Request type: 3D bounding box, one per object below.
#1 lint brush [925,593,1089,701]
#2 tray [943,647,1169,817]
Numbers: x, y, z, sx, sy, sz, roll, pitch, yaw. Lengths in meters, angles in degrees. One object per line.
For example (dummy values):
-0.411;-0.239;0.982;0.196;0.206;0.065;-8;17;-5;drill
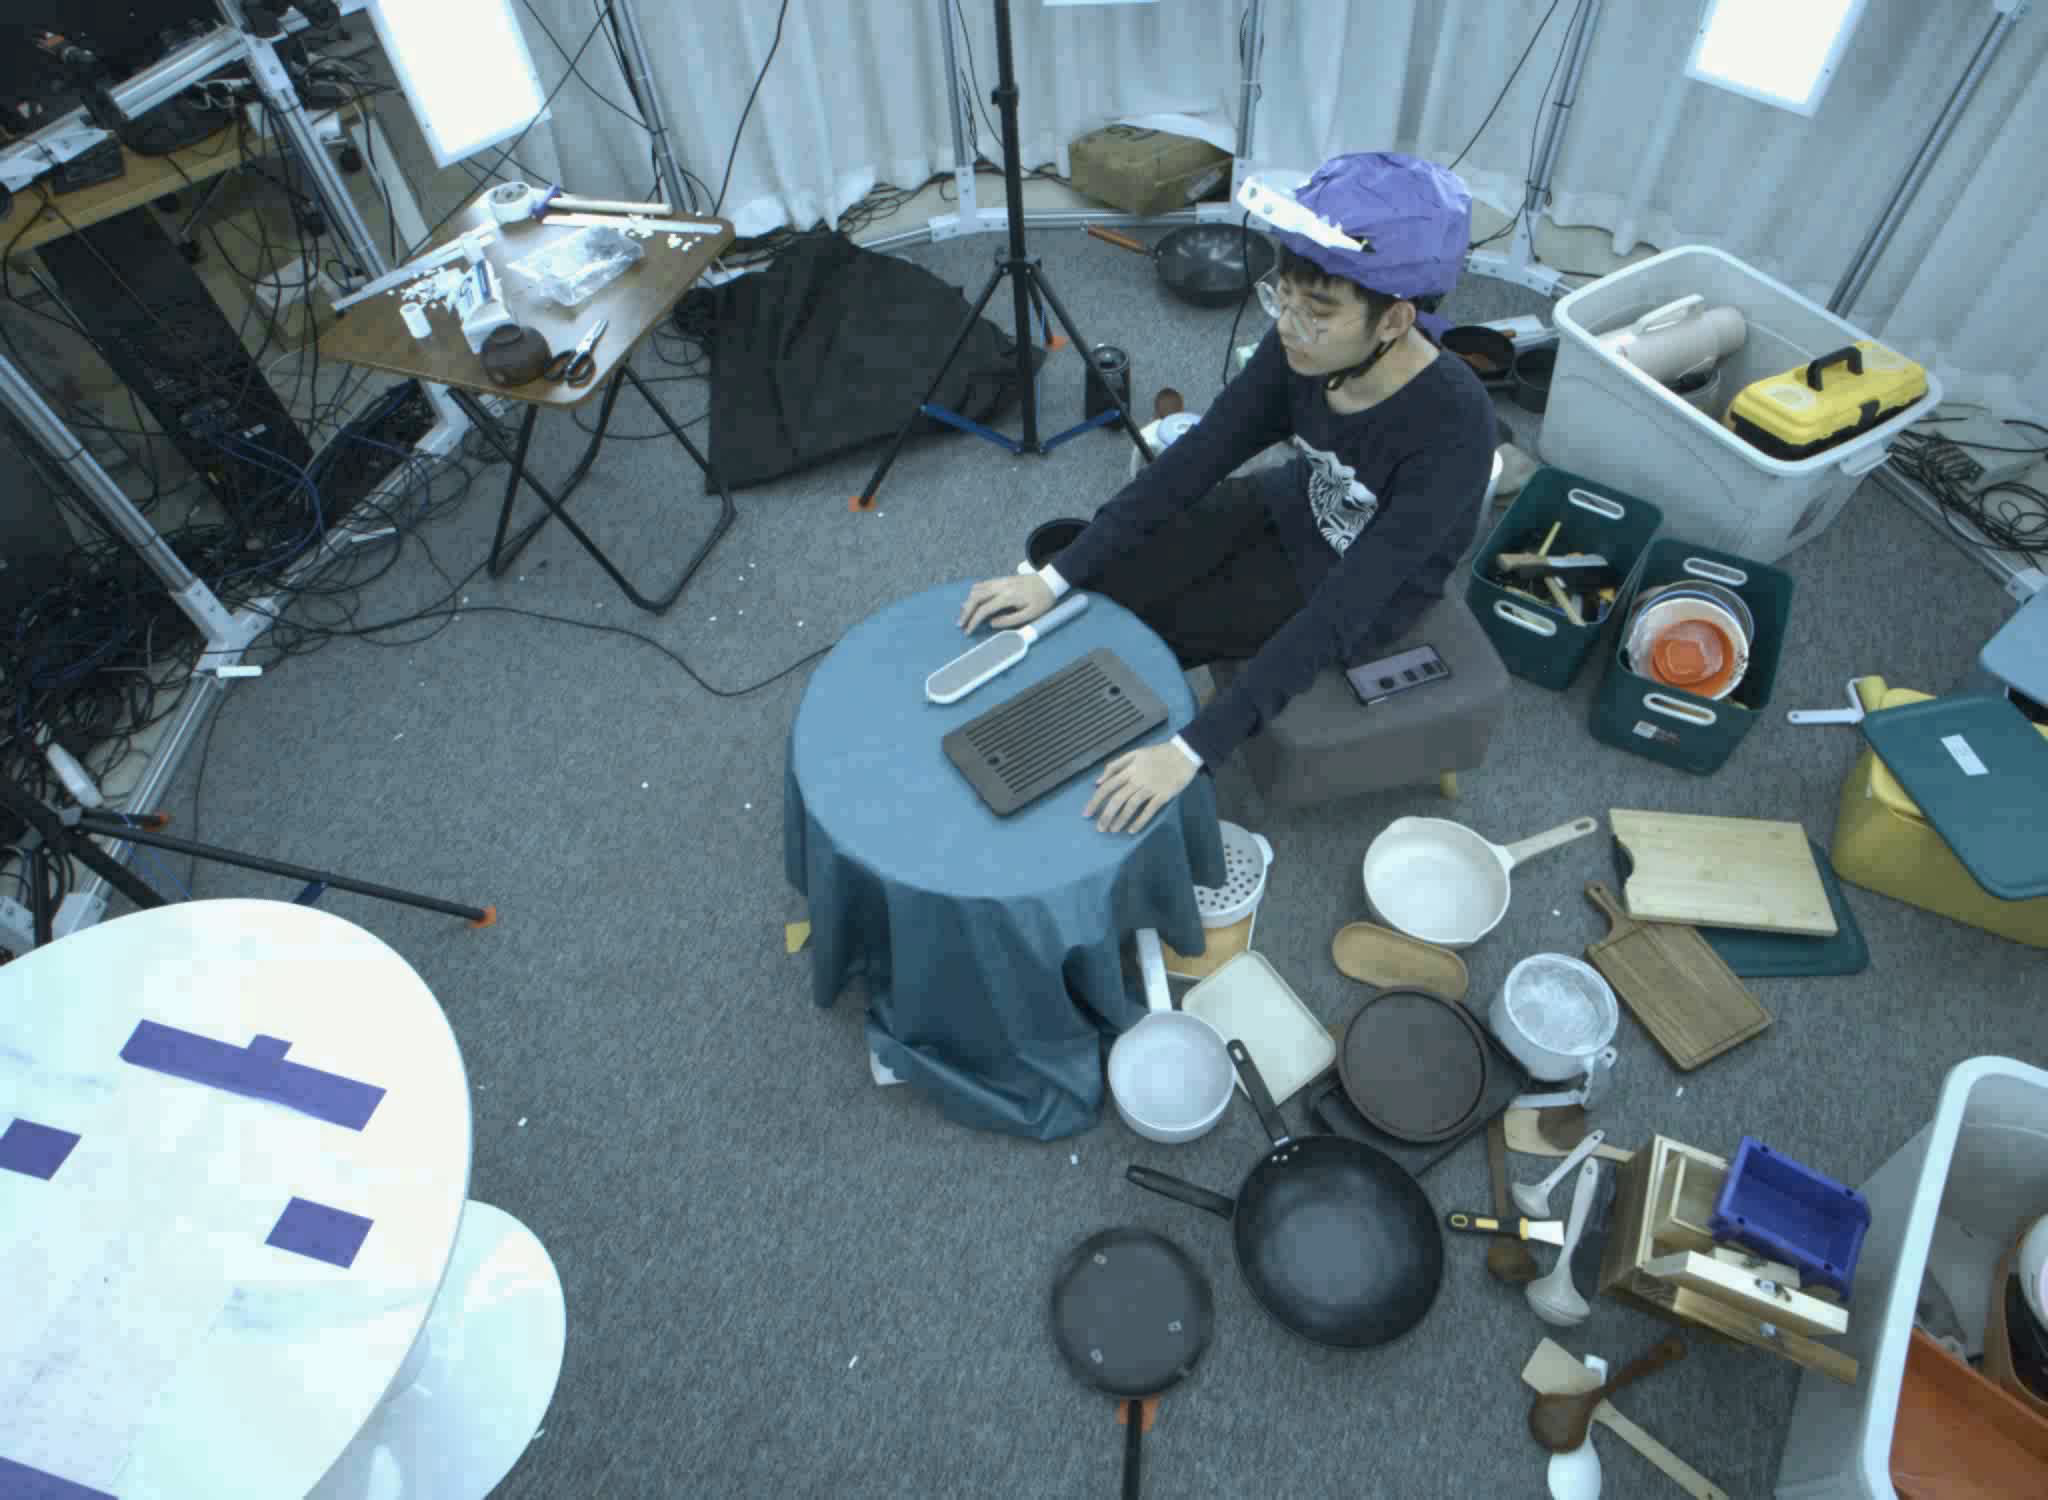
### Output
-0.022;-0.163;1.896;0.311;0.021;0.059;-33;55;-21;lint brush
0.048;-0.030;1.804;0.308;0.019;0.167;-31;59;-19;tray
